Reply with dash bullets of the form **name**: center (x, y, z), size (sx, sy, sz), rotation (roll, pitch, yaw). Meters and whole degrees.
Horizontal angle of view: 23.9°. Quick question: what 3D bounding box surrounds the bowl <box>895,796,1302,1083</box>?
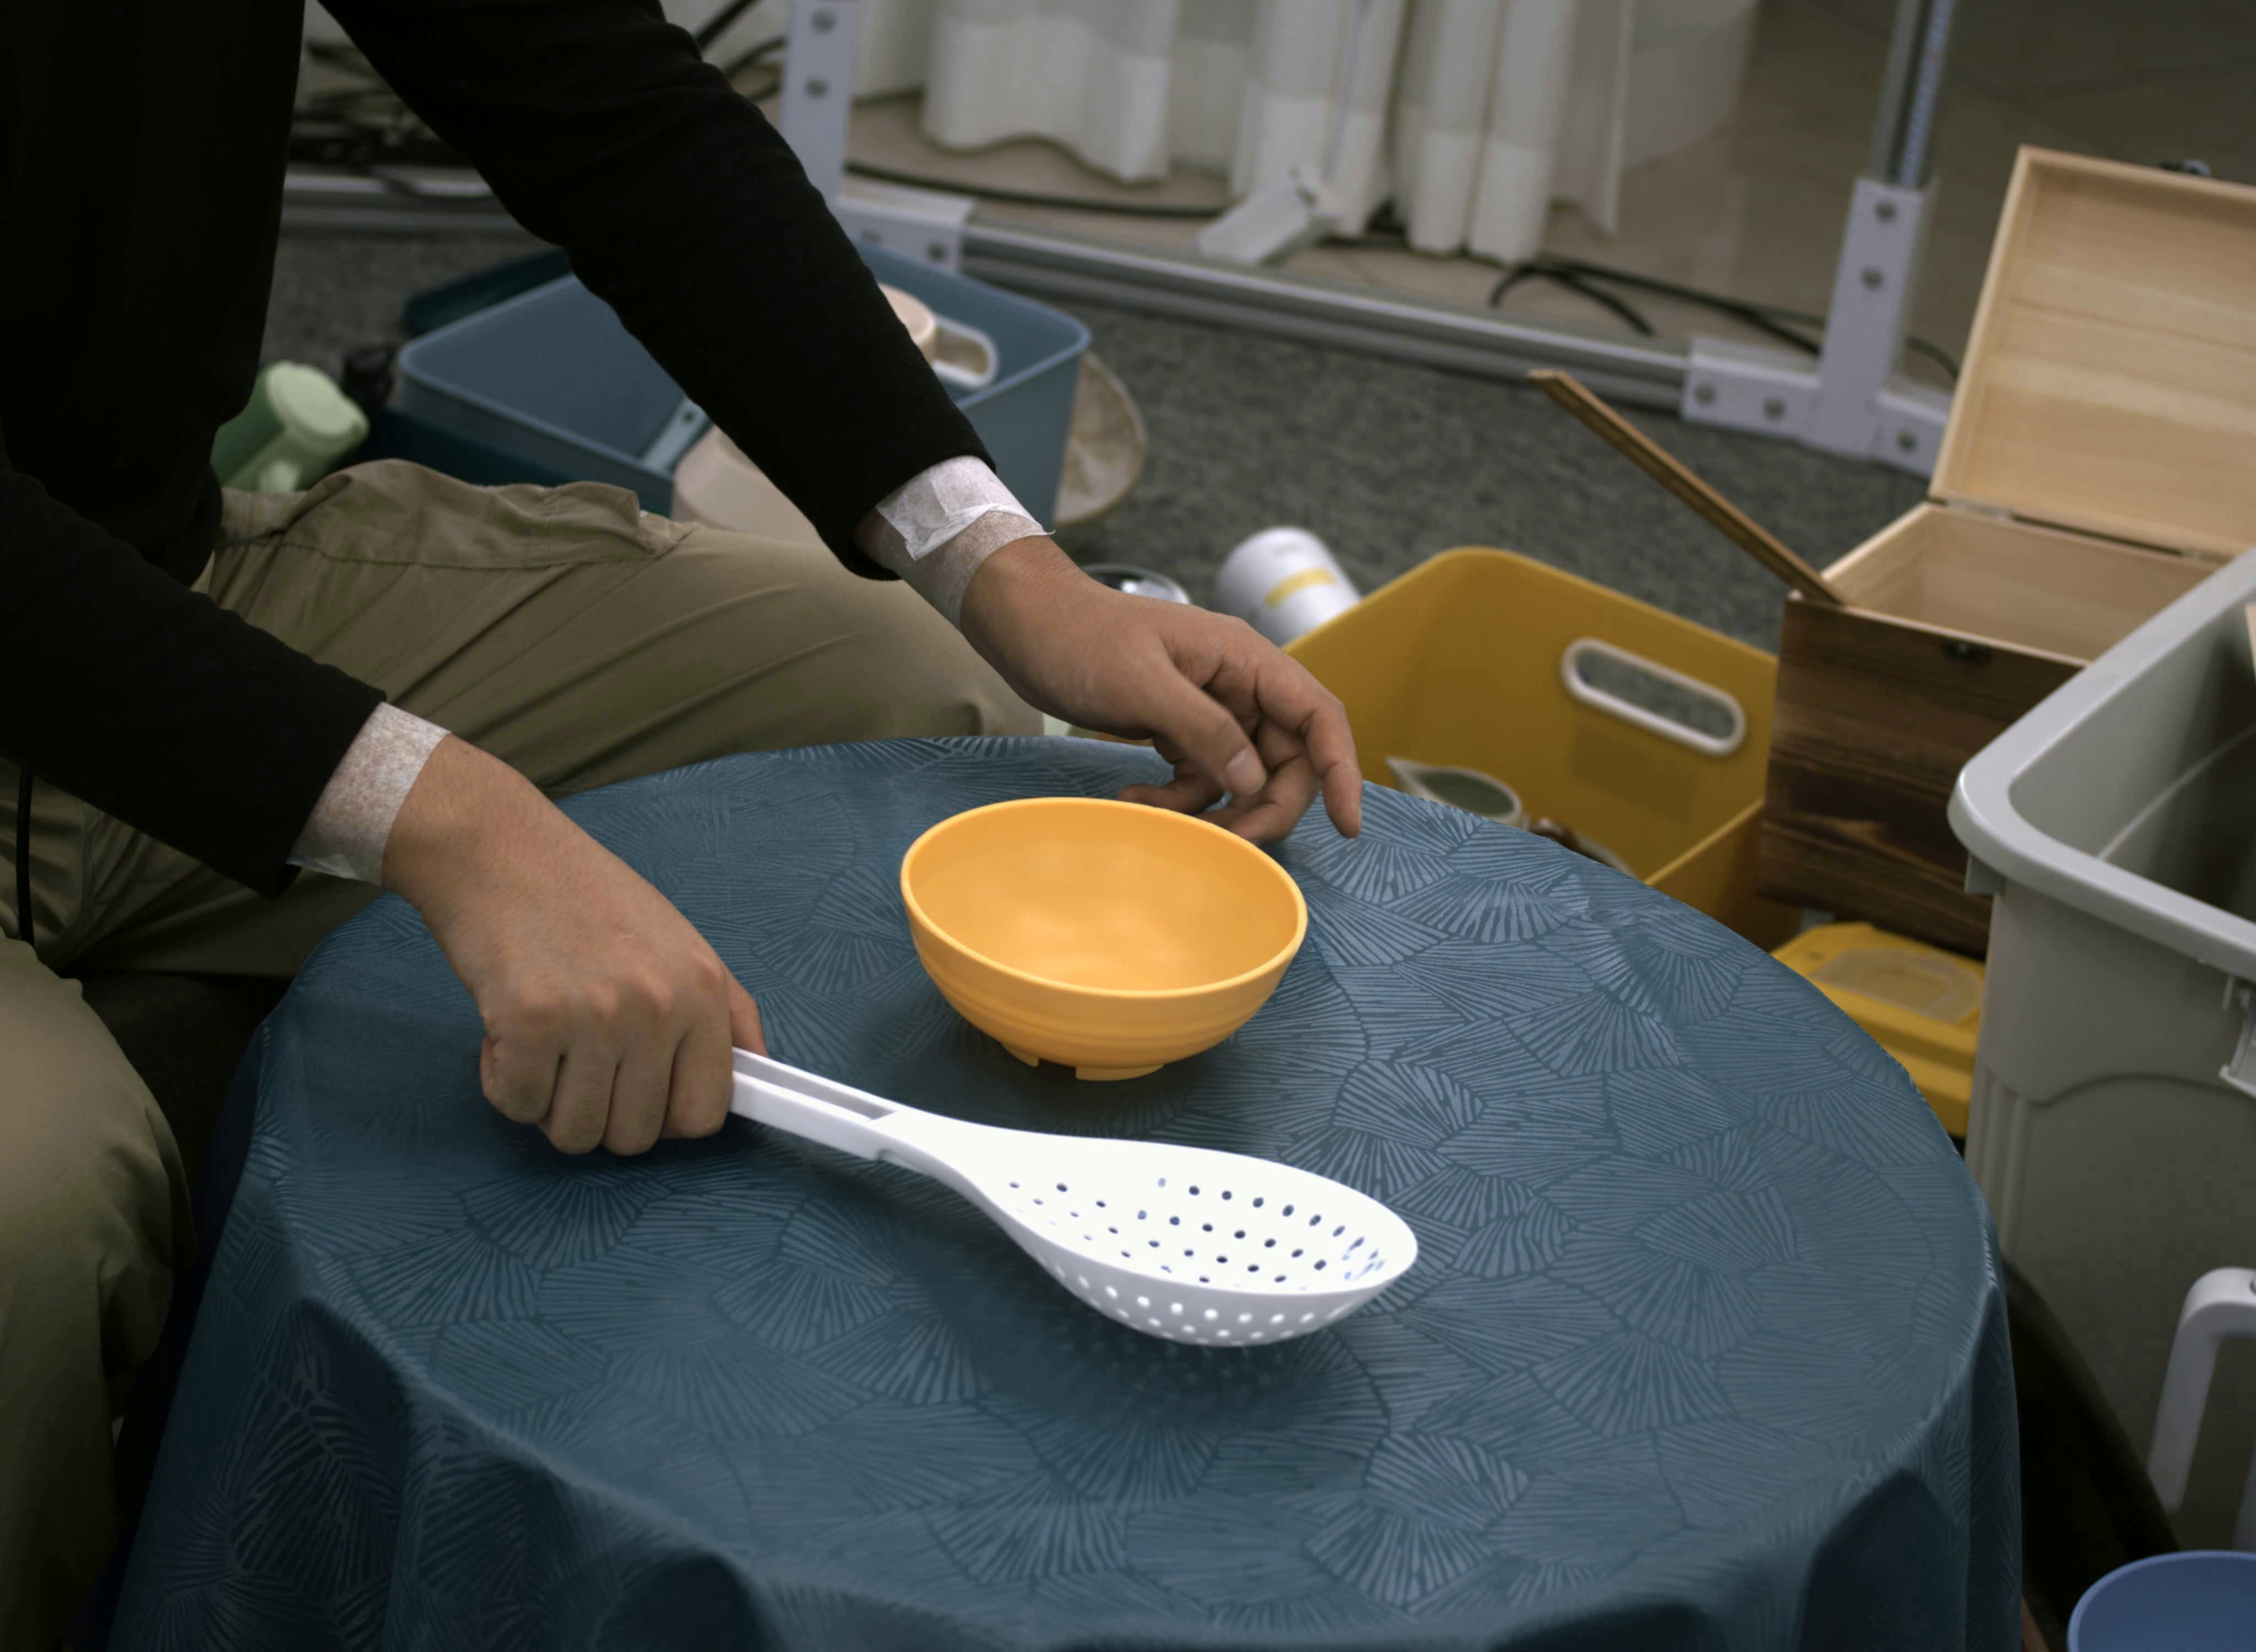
- **bowl**: center (-0.014, 0.049, 1.883), size (0.145, 0.060, 0.146), rotation (7, 27, -4)

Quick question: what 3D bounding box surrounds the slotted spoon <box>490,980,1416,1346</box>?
- **slotted spoon**: center (-0.067, 0.105, 1.765), size (0.351, 0.045, 0.135), rotation (21, 19, 26)
